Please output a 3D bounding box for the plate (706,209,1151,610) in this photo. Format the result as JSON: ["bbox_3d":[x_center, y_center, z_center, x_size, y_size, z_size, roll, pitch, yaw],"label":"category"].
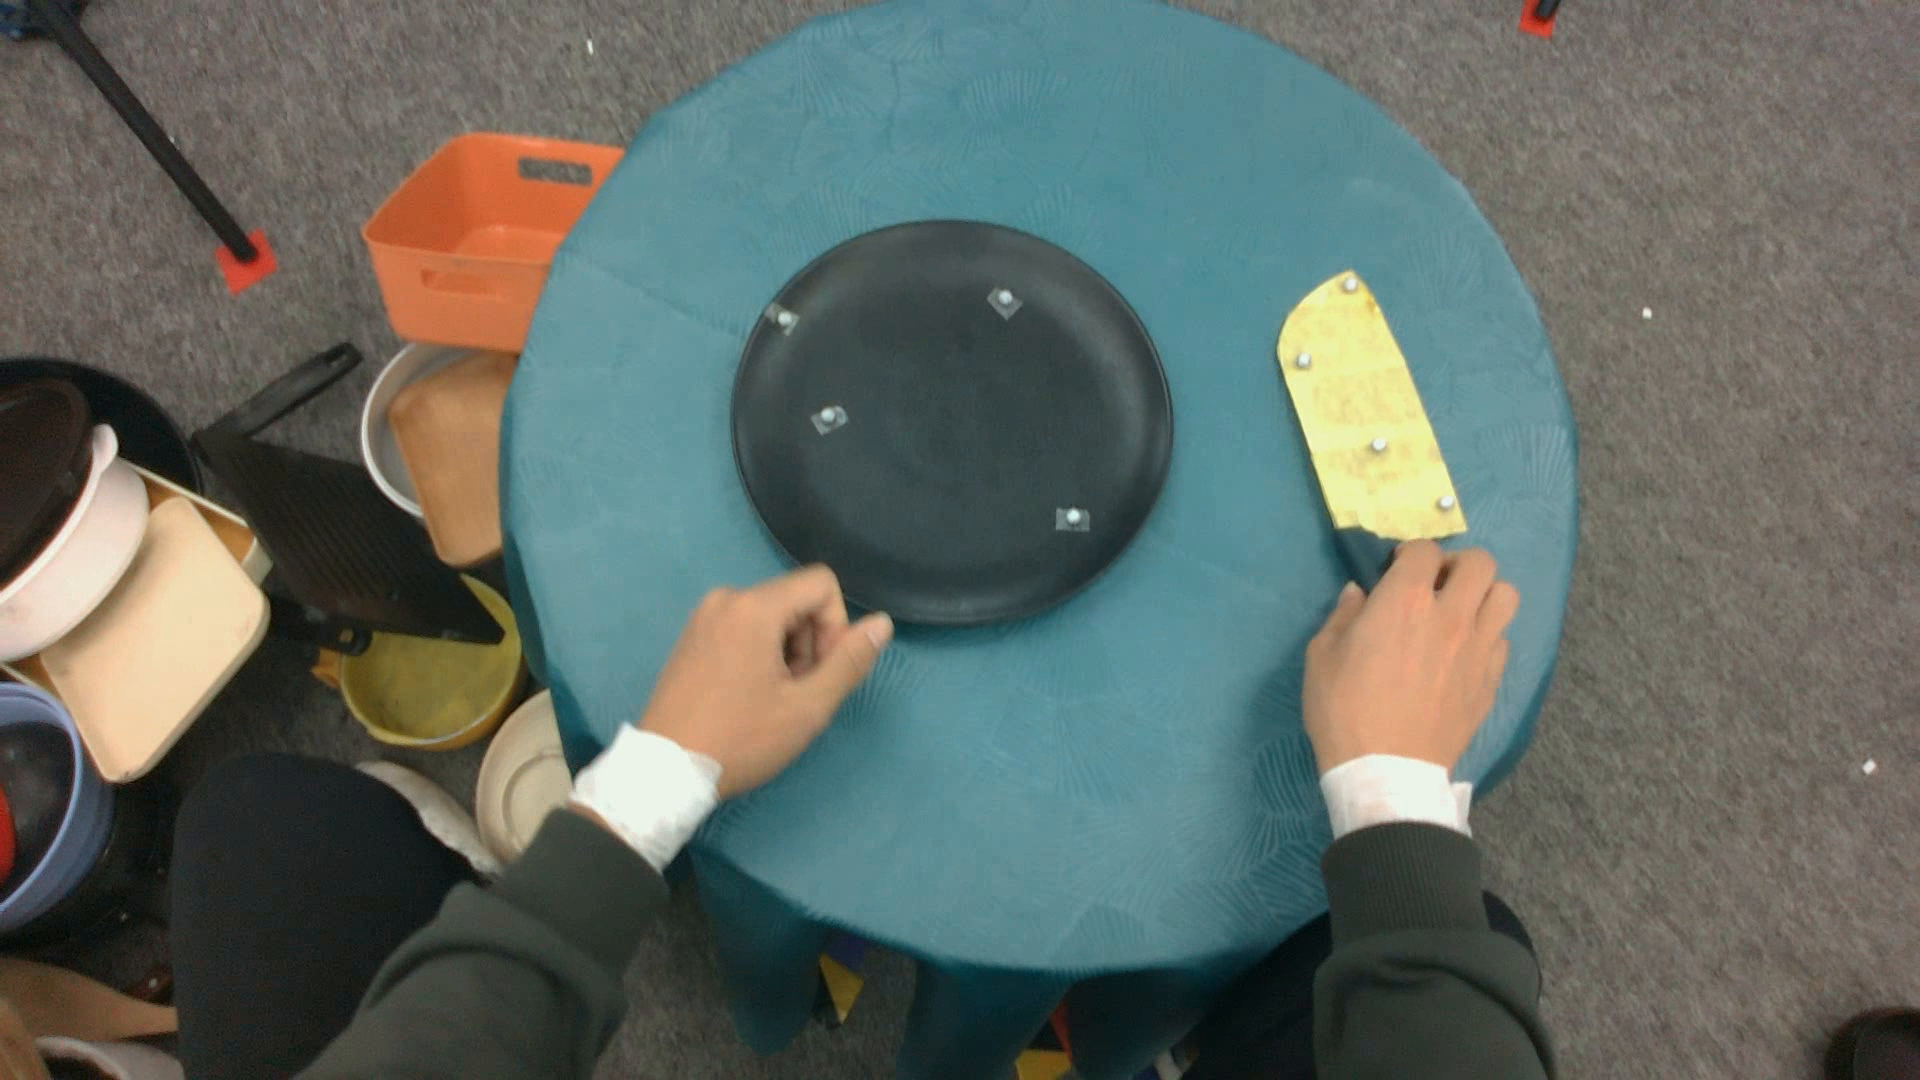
[{"bbox_3d":[-0.016,-0.075,0.760,0.244,0.023,0.245,1,69,-4],"label":"plate"}]

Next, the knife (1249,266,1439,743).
[{"bbox_3d":[0.223,-0.030,0.765,0.081,0.027,0.290,-7,69,-7],"label":"knife"}]
